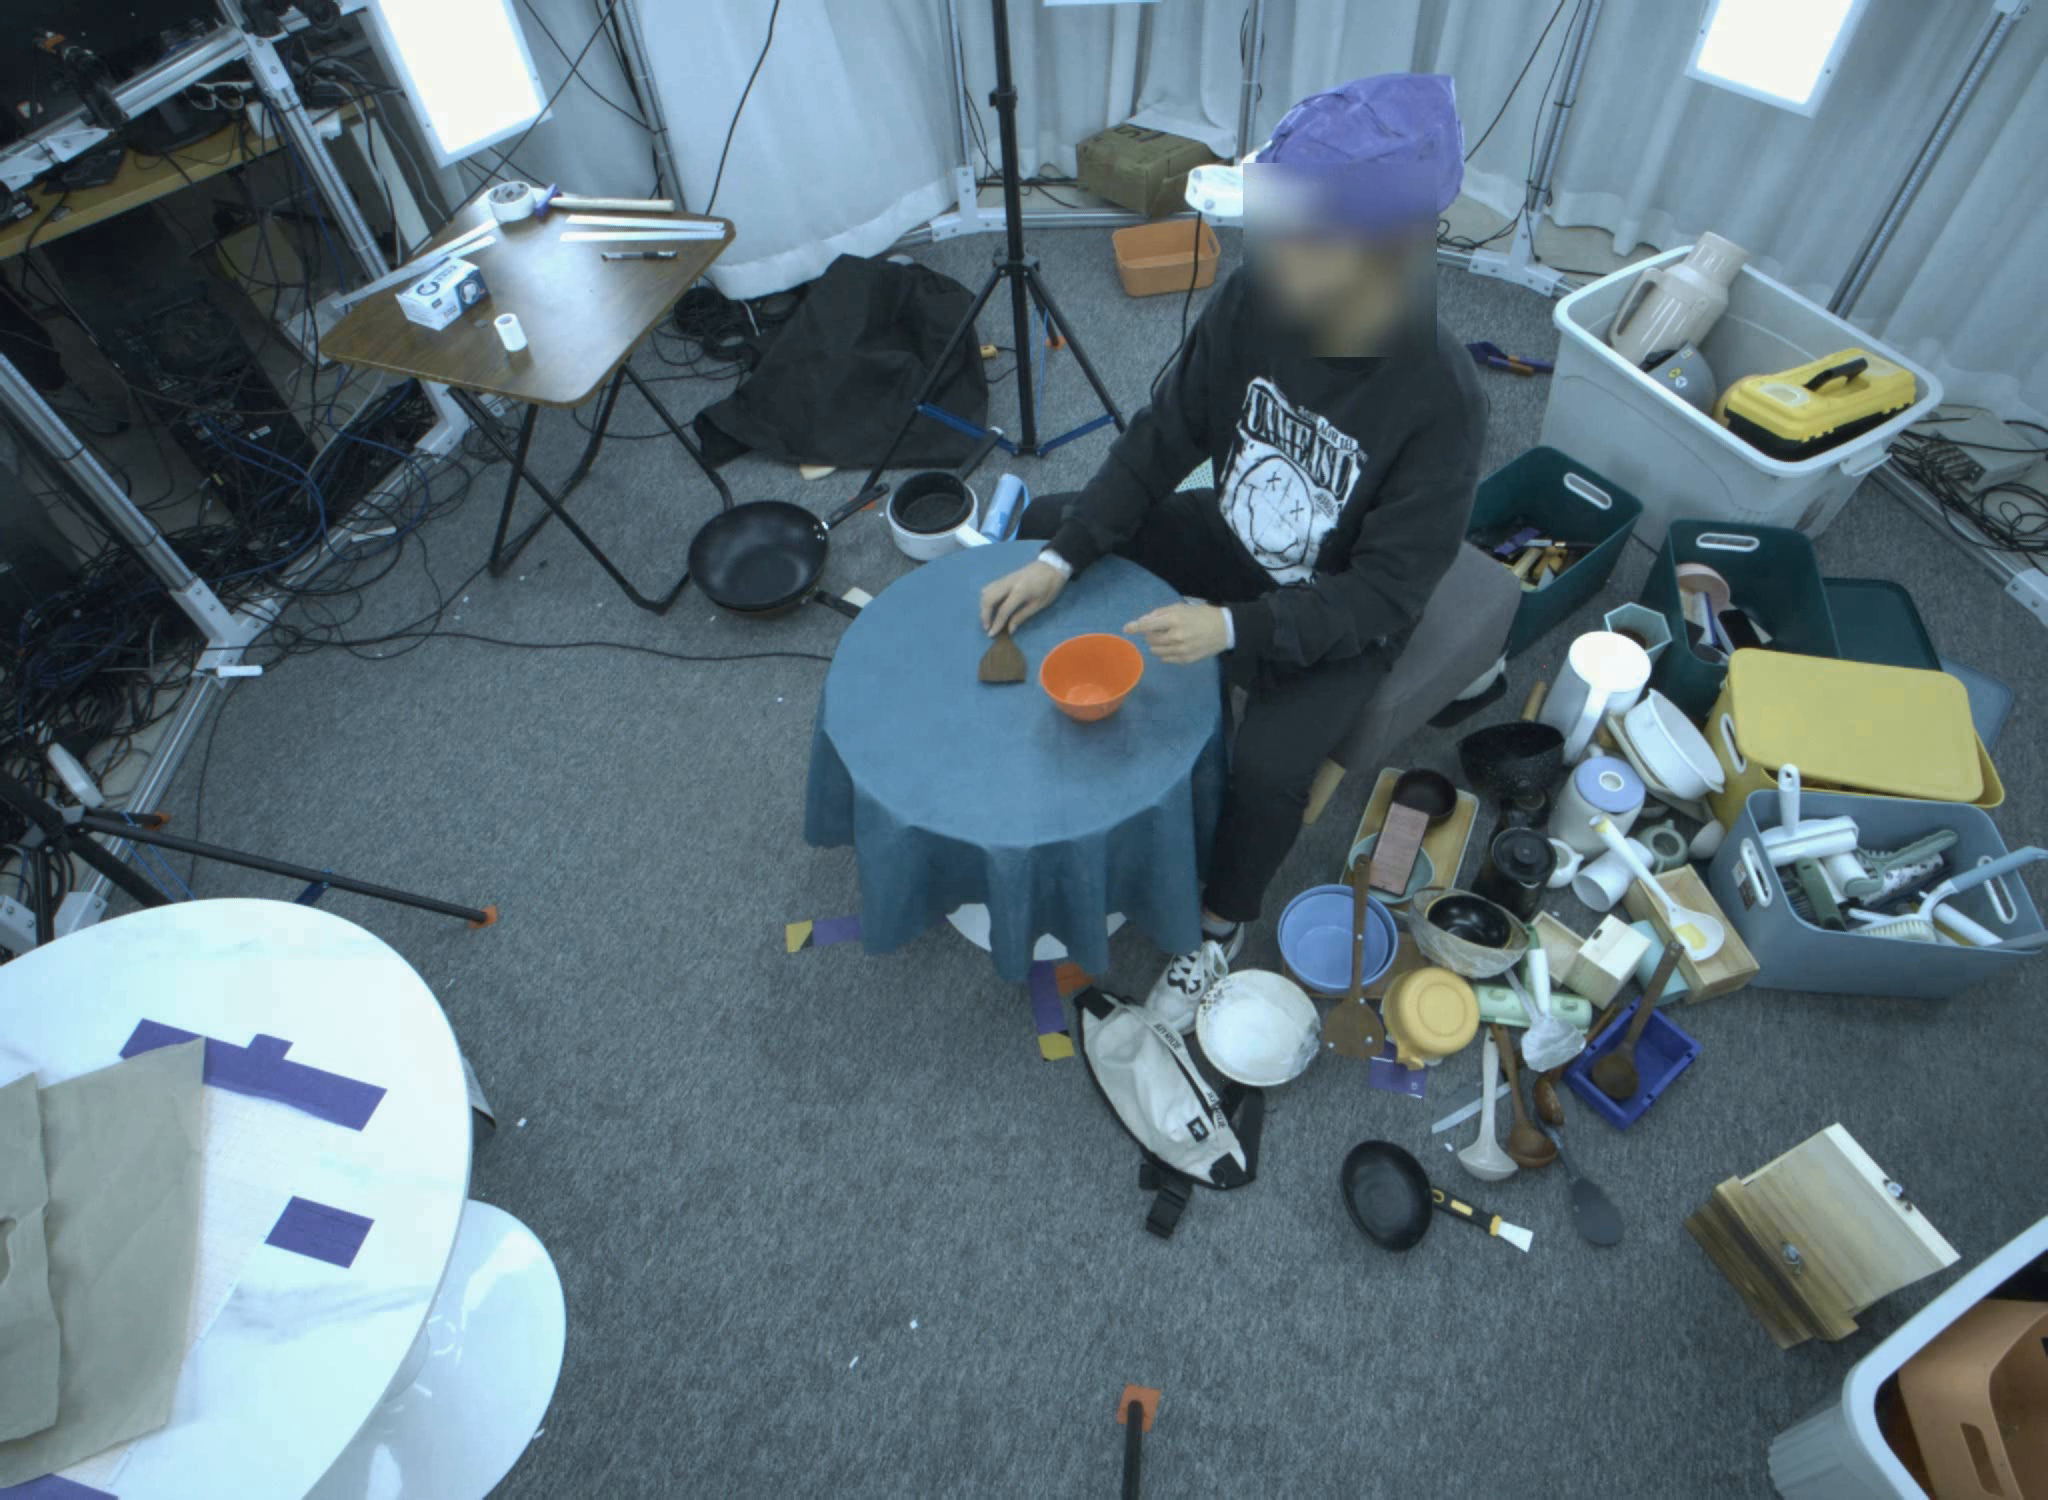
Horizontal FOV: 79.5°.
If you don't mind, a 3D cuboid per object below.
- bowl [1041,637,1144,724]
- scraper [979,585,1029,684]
[{"bbox_3d":[0.100,-0.087,1.794,0.148,0.106,0.146,-1,55,2],"label":"bowl"},{"bbox_3d":[-0.031,-0.182,1.922,0.076,0.011,0.209,0,54,0],"label":"scraper"}]
